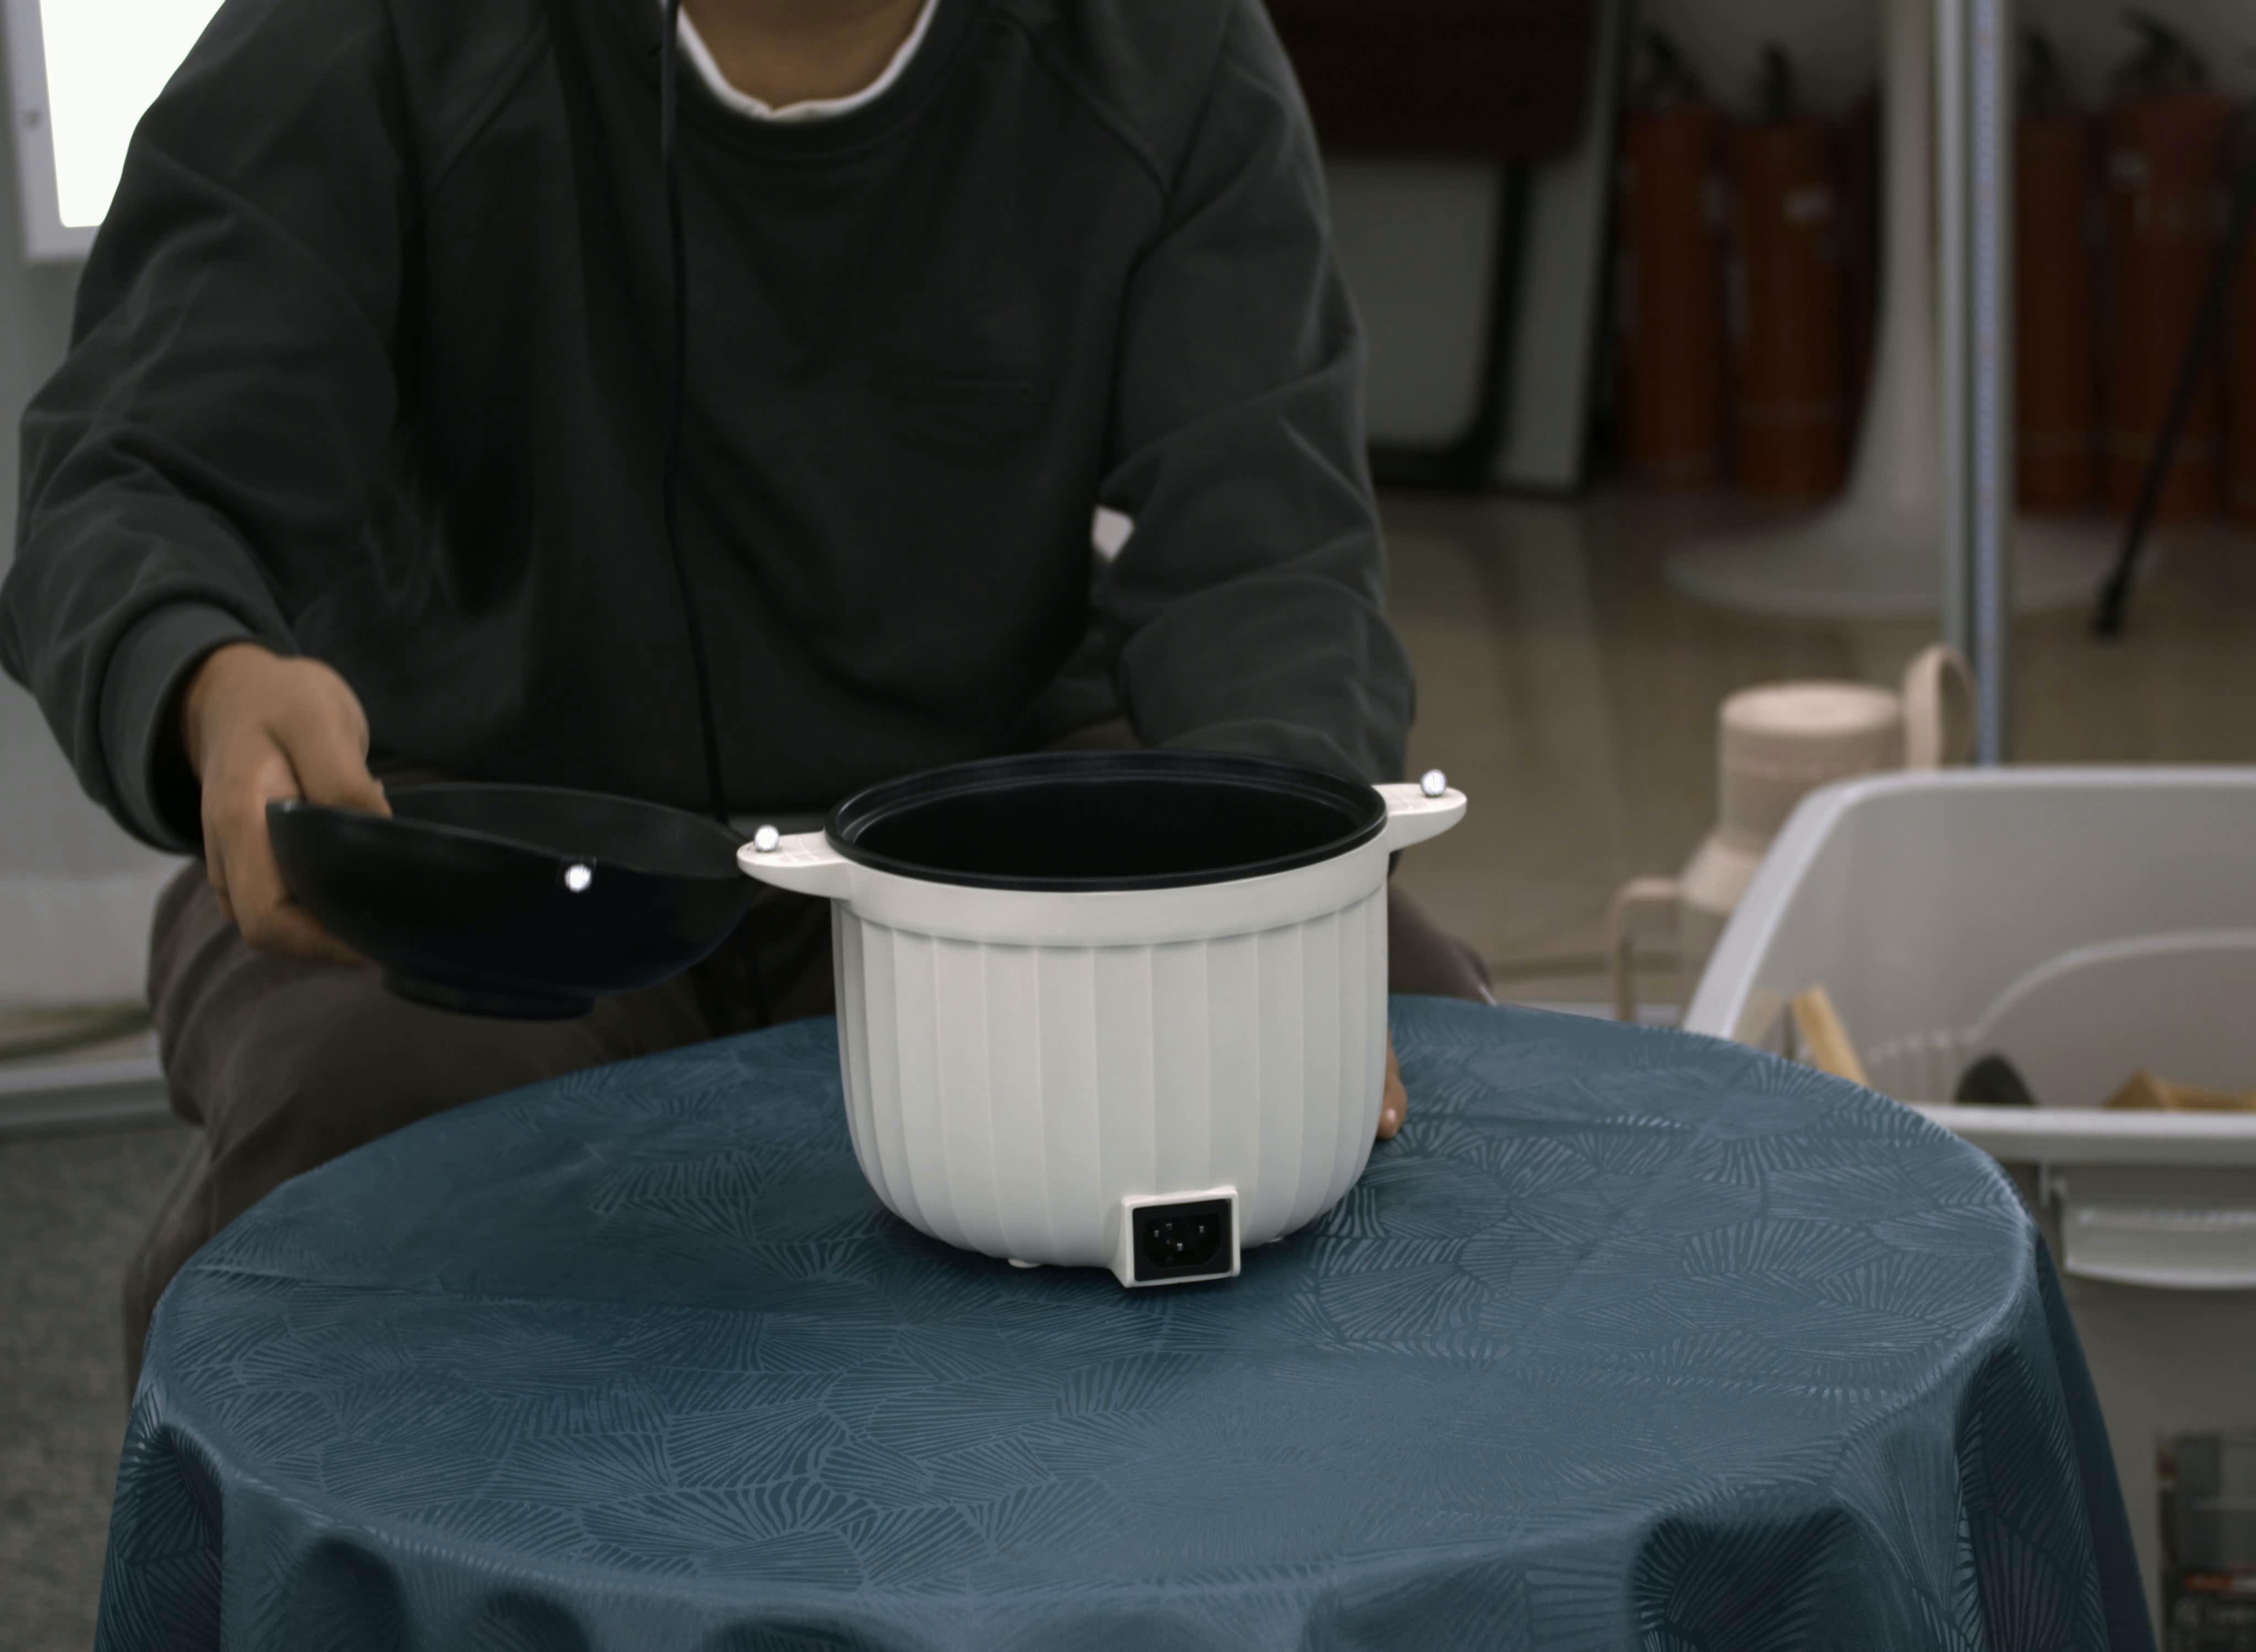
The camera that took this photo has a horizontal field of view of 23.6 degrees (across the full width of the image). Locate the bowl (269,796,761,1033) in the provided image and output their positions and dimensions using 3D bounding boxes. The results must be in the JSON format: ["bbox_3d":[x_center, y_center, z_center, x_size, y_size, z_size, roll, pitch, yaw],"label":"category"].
[{"bbox_3d":[-0.199,0.029,1.730,0.170,0.067,0.135,8,7,25],"label":"bowl"}]

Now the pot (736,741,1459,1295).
[{"bbox_3d":[-0.009,0.059,1.736,0.236,0.144,0.192,-4,16,-13],"label":"pot"}]
